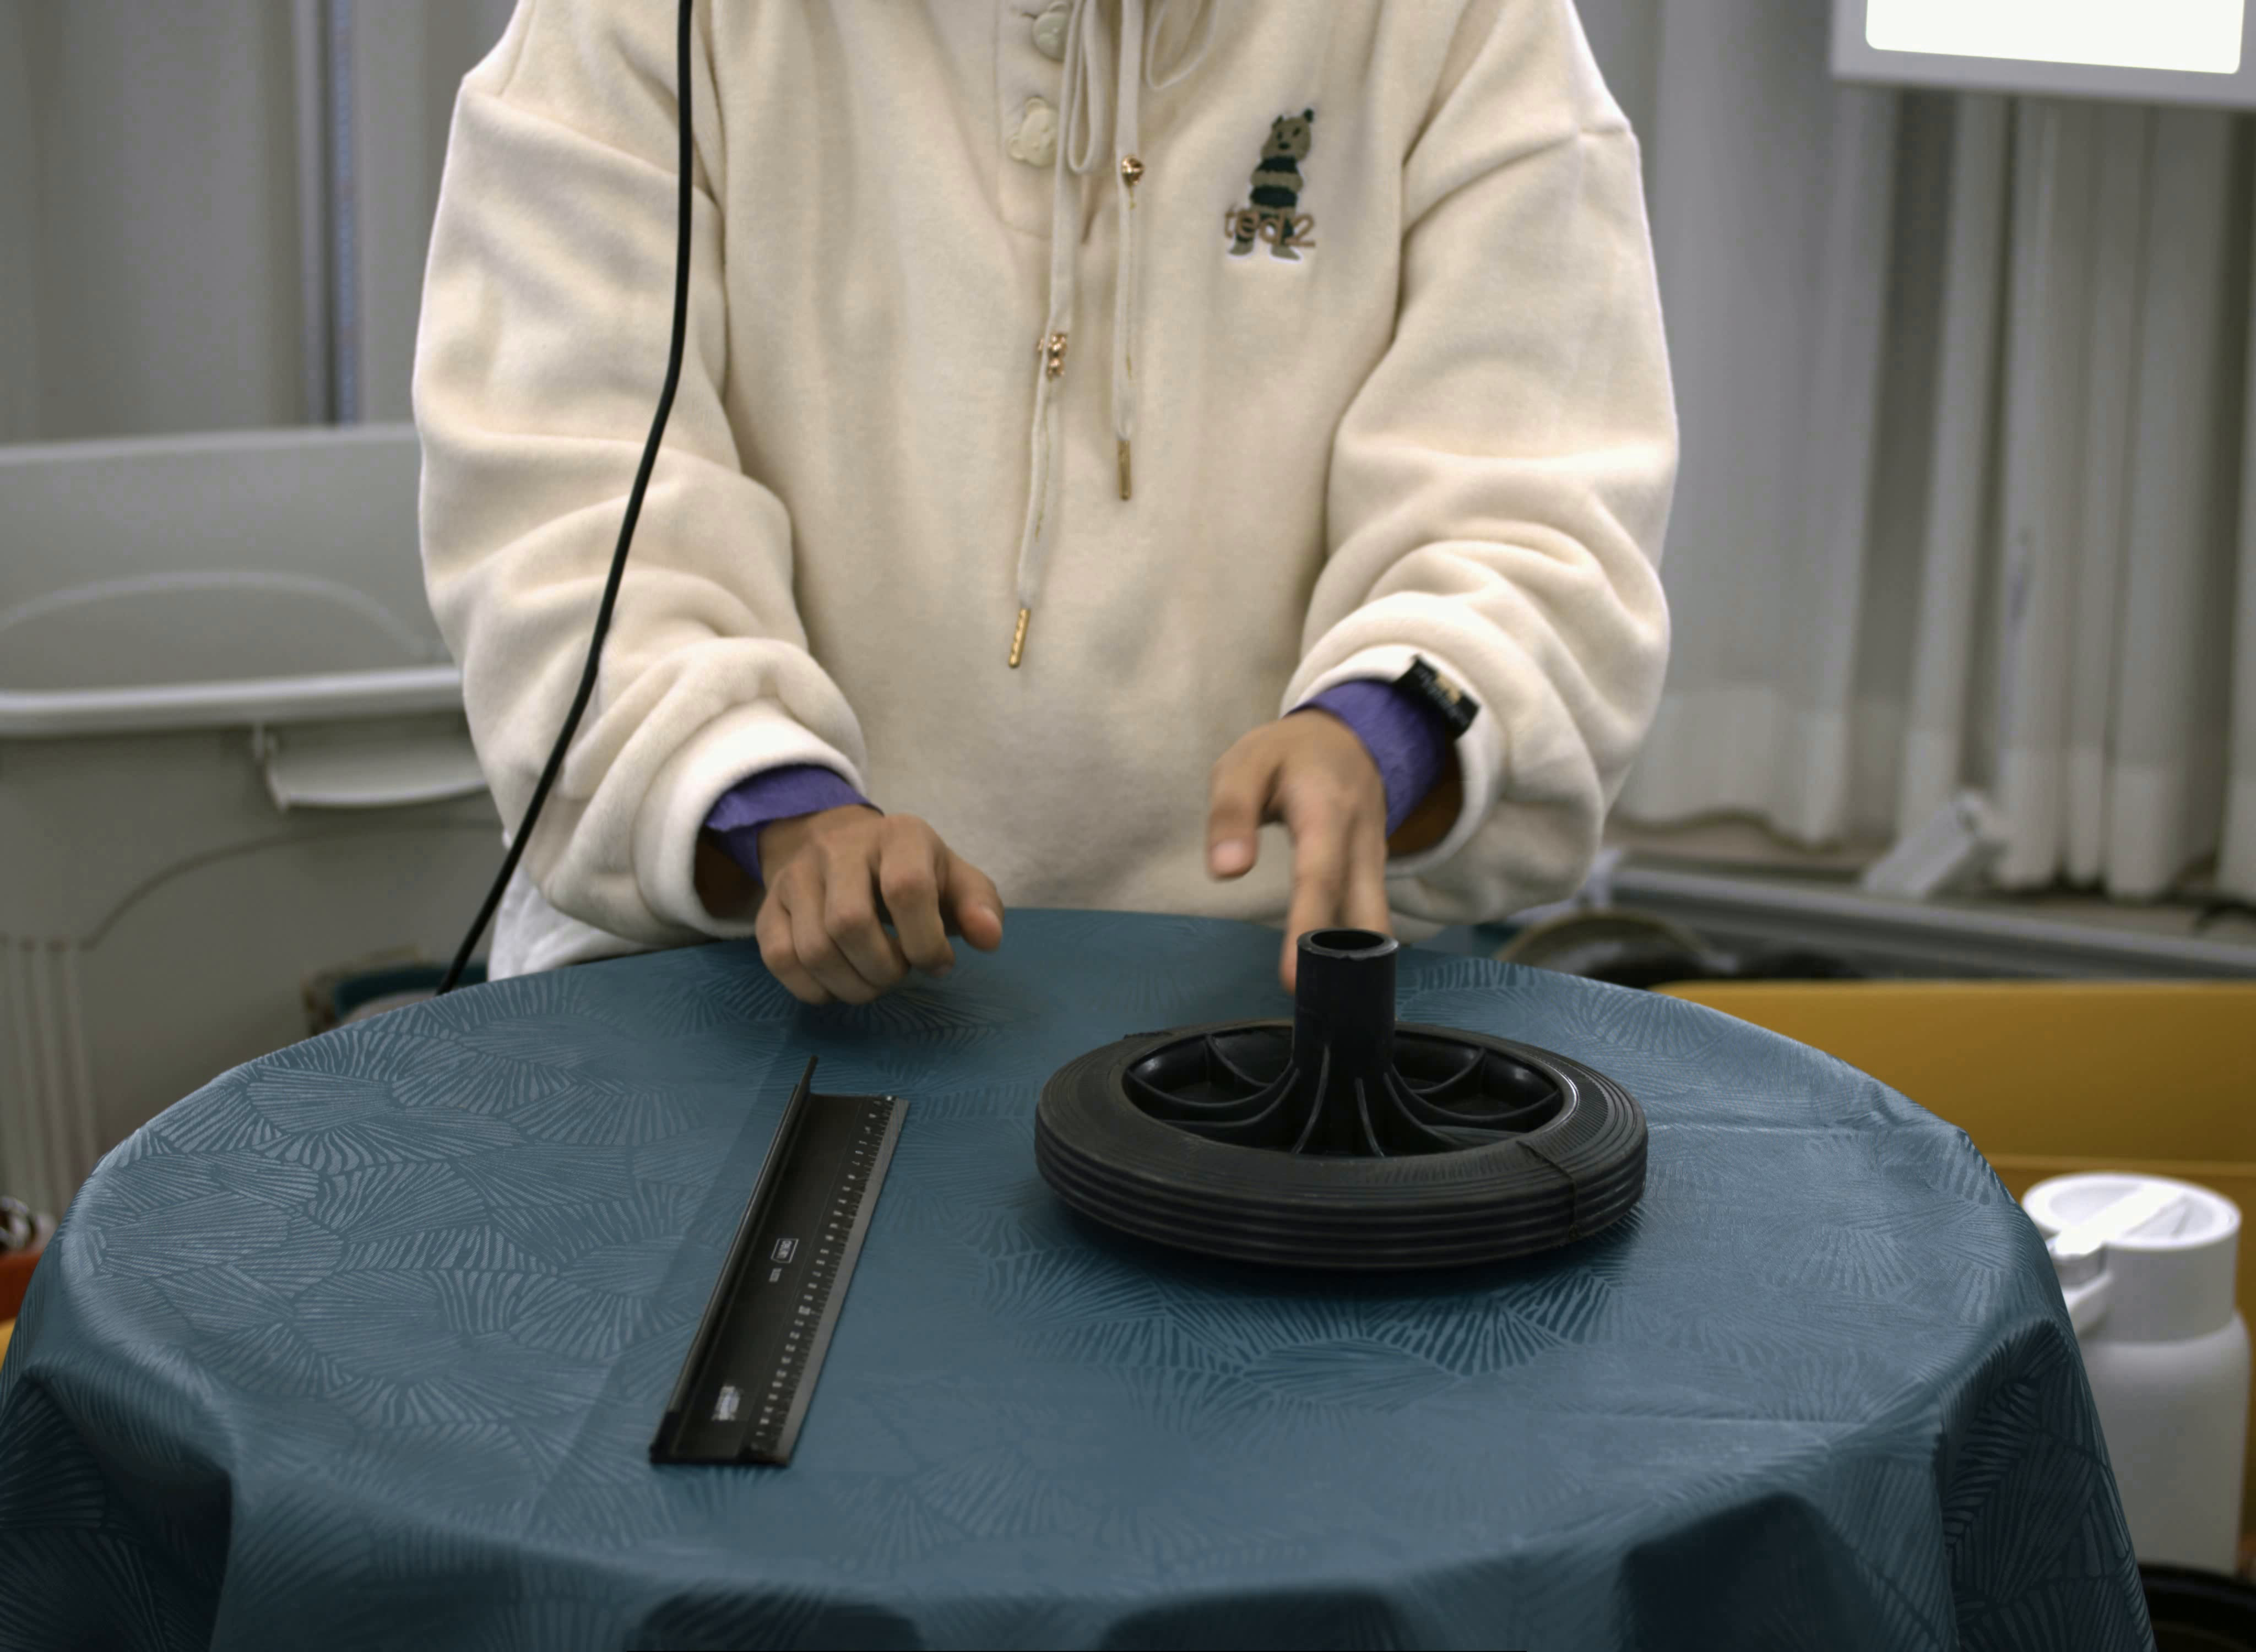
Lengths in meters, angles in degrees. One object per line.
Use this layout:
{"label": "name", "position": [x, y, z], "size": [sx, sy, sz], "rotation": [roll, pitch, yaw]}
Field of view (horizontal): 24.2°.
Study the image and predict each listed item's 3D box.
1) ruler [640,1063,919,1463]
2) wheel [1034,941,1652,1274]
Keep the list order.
{"label": "ruler", "position": [-0.099, 0.123, 1.550], "size": [0.039, 0.017, 0.311], "rotation": [5, 15, 4]}
{"label": "wheel", "position": [0.067, 0.077, 1.607], "size": [0.190, 0.080, 0.186], "rotation": [0, 15, -10]}
